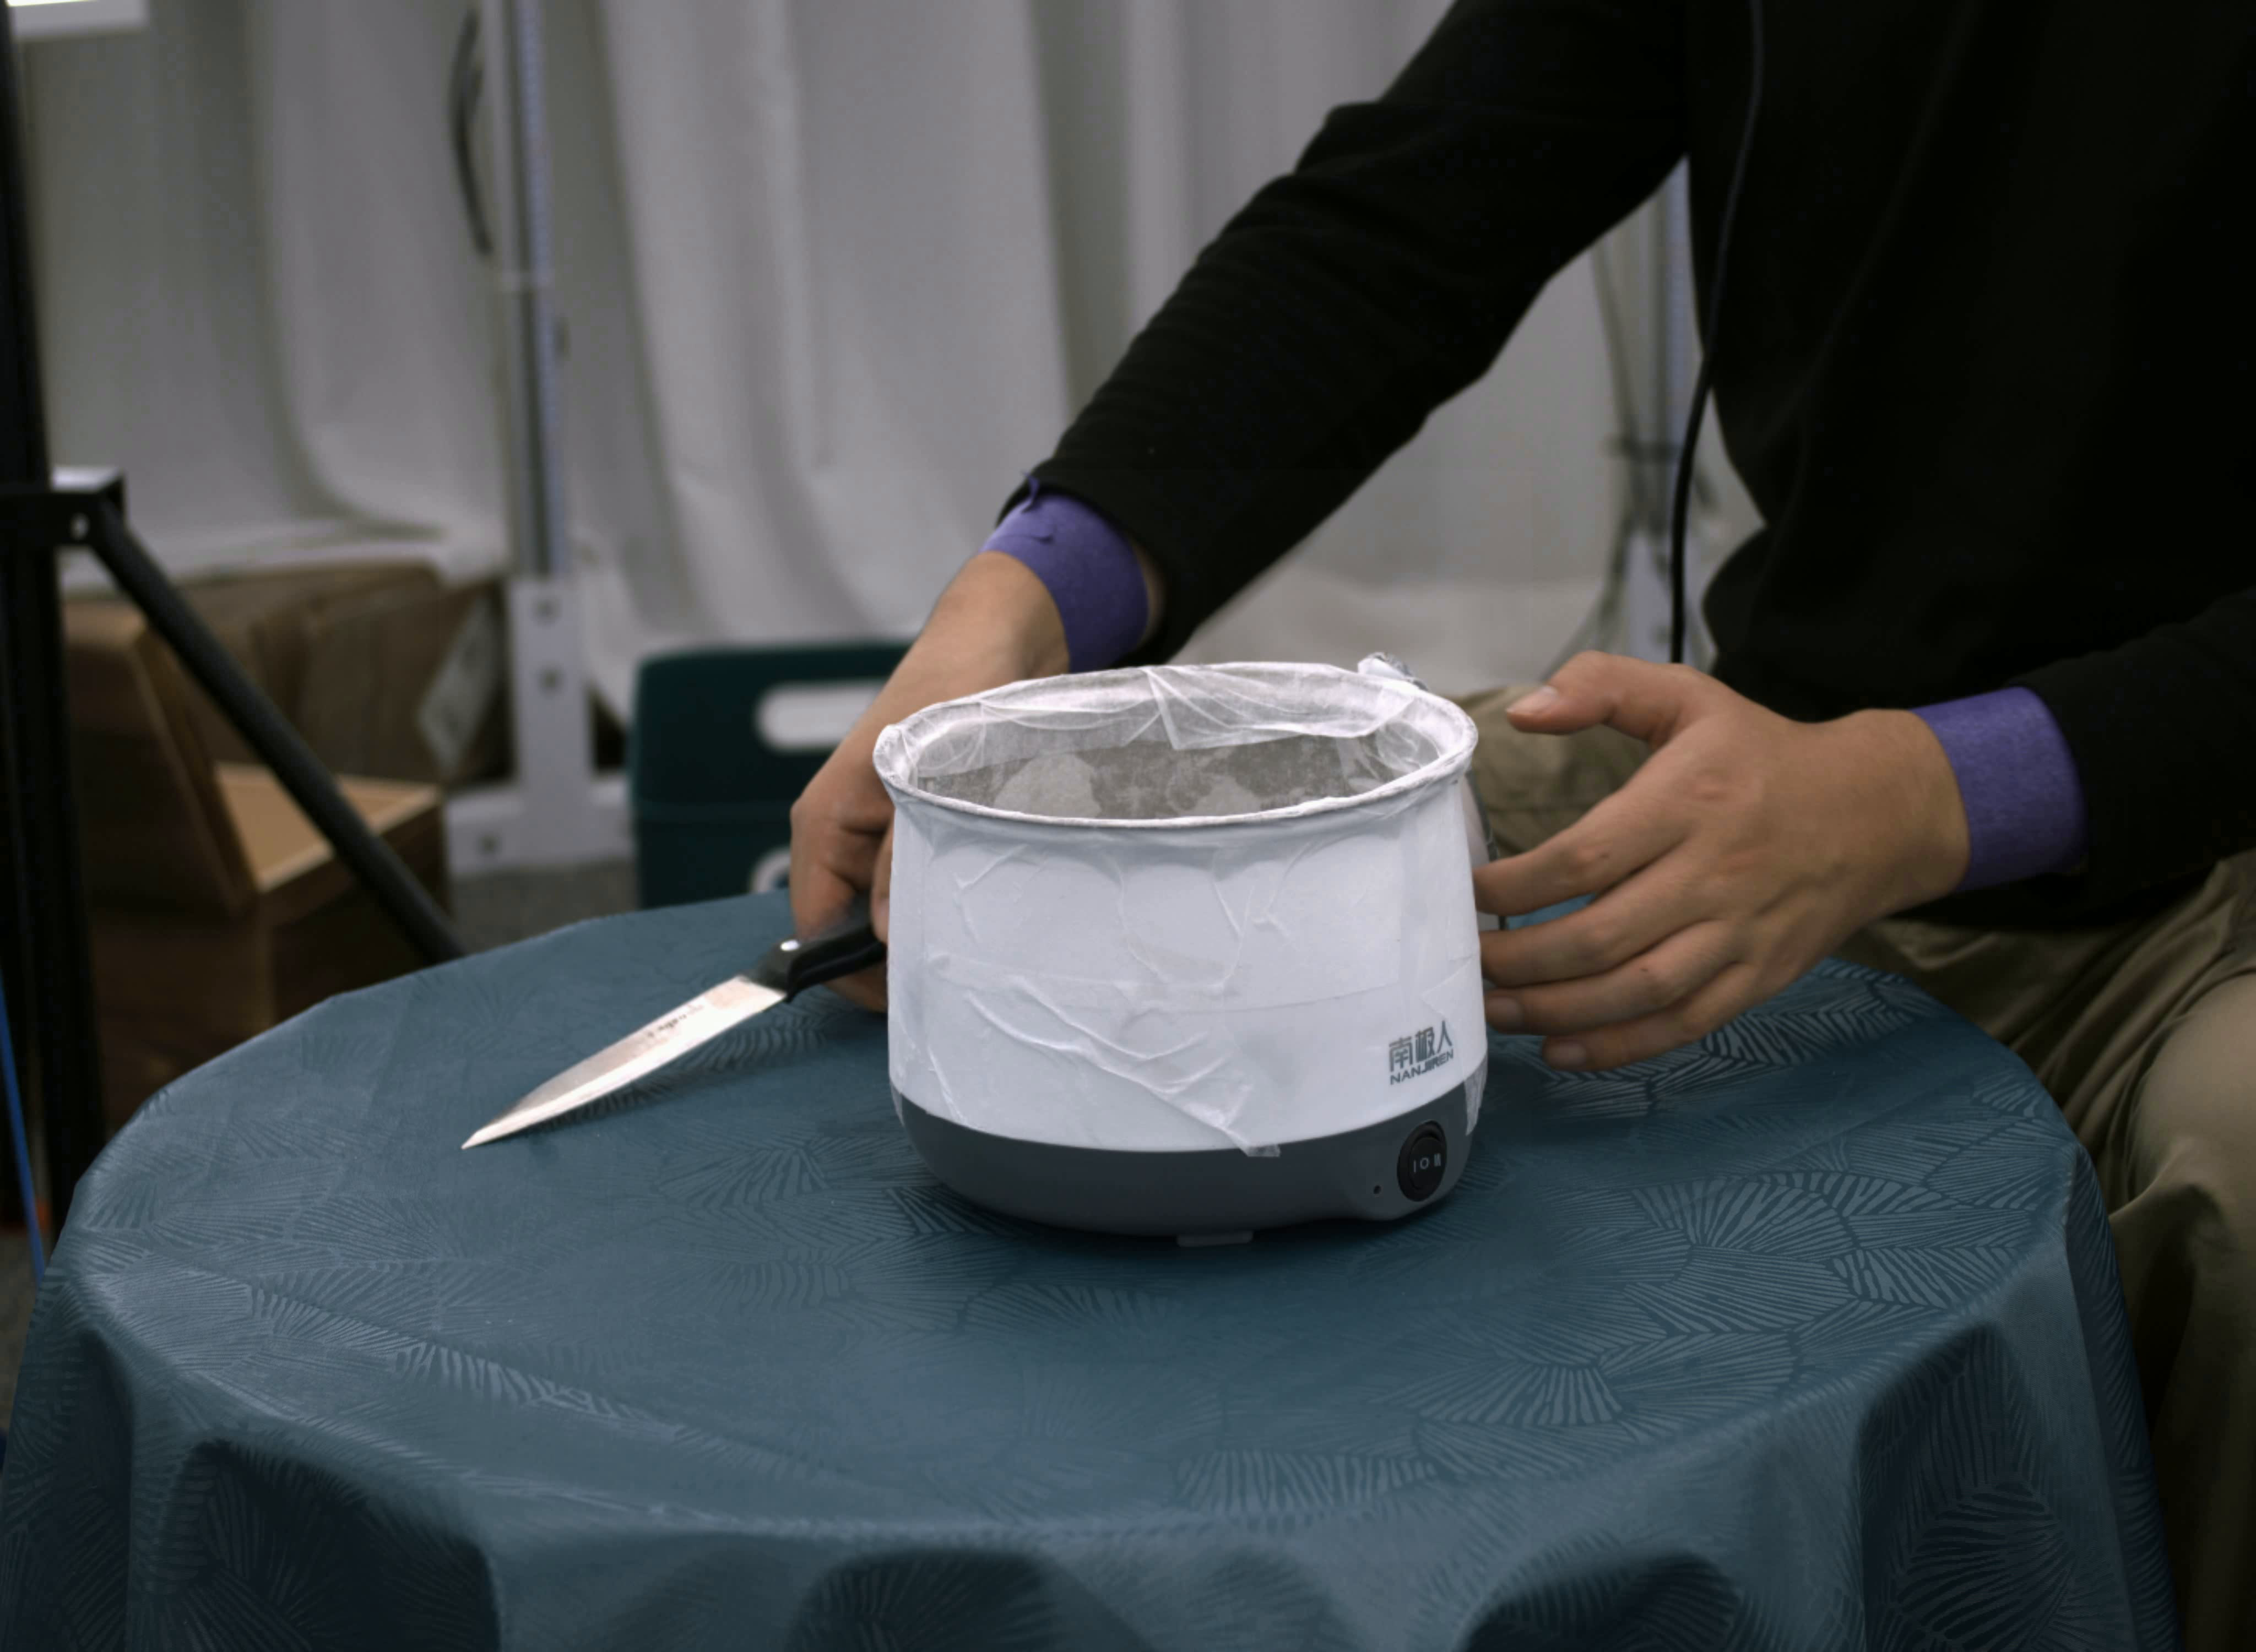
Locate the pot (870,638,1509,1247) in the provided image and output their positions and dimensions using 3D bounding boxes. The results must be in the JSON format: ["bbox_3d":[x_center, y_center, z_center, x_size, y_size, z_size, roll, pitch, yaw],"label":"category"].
[{"bbox_3d":[0.033,0.027,1.576,0.182,0.136,0.229,11,22,38],"label":"pot"}]

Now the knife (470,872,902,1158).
[{"bbox_3d":[-0.120,0.053,1.693,0.025,0.016,0.234,32,45,32],"label":"knife"}]
